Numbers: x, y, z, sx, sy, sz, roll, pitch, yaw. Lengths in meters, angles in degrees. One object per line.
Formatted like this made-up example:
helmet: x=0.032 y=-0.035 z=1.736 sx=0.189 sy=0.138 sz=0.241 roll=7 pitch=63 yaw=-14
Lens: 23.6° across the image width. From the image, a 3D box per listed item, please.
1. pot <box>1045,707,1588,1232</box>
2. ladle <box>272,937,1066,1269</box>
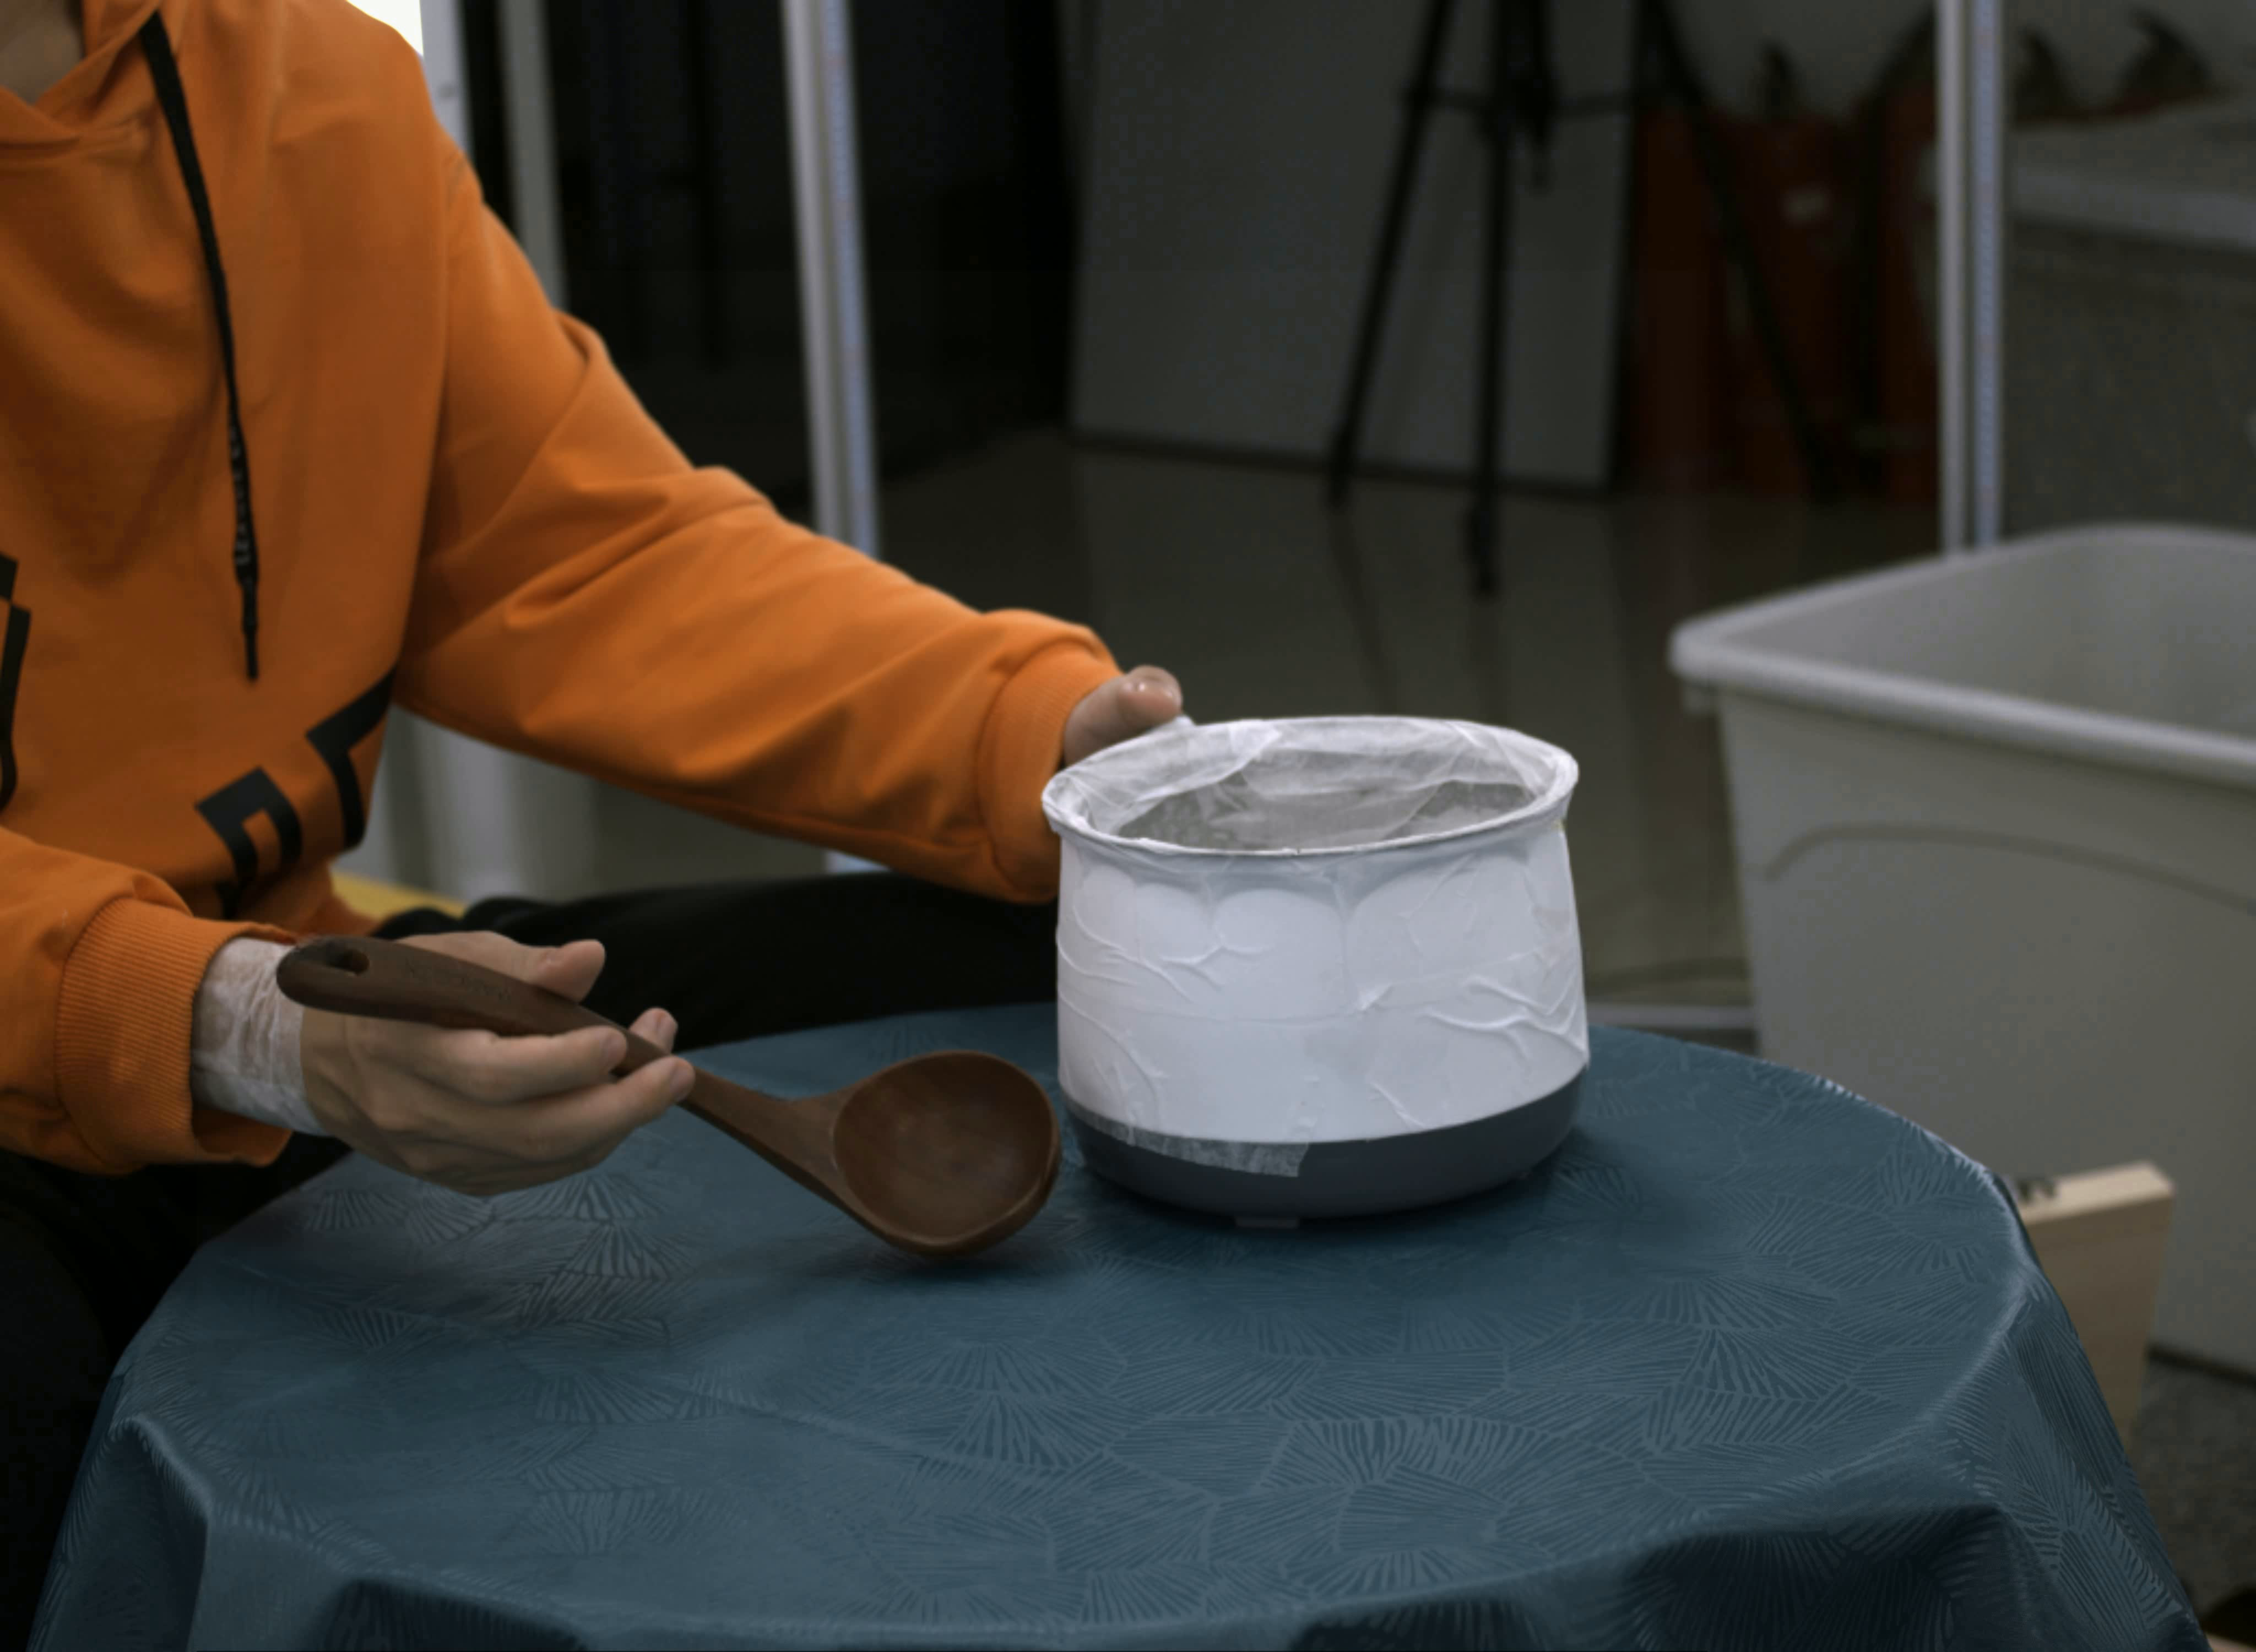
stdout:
pot: x=0.050 y=0.041 z=1.793 sx=0.175 sy=0.138 sz=0.236 roll=-10 pitch=15 yaw=-26
ladle: x=-0.138 y=0.073 z=1.680 sx=0.255 sy=0.066 sz=0.077 roll=23 pitch=42 yaw=-23
